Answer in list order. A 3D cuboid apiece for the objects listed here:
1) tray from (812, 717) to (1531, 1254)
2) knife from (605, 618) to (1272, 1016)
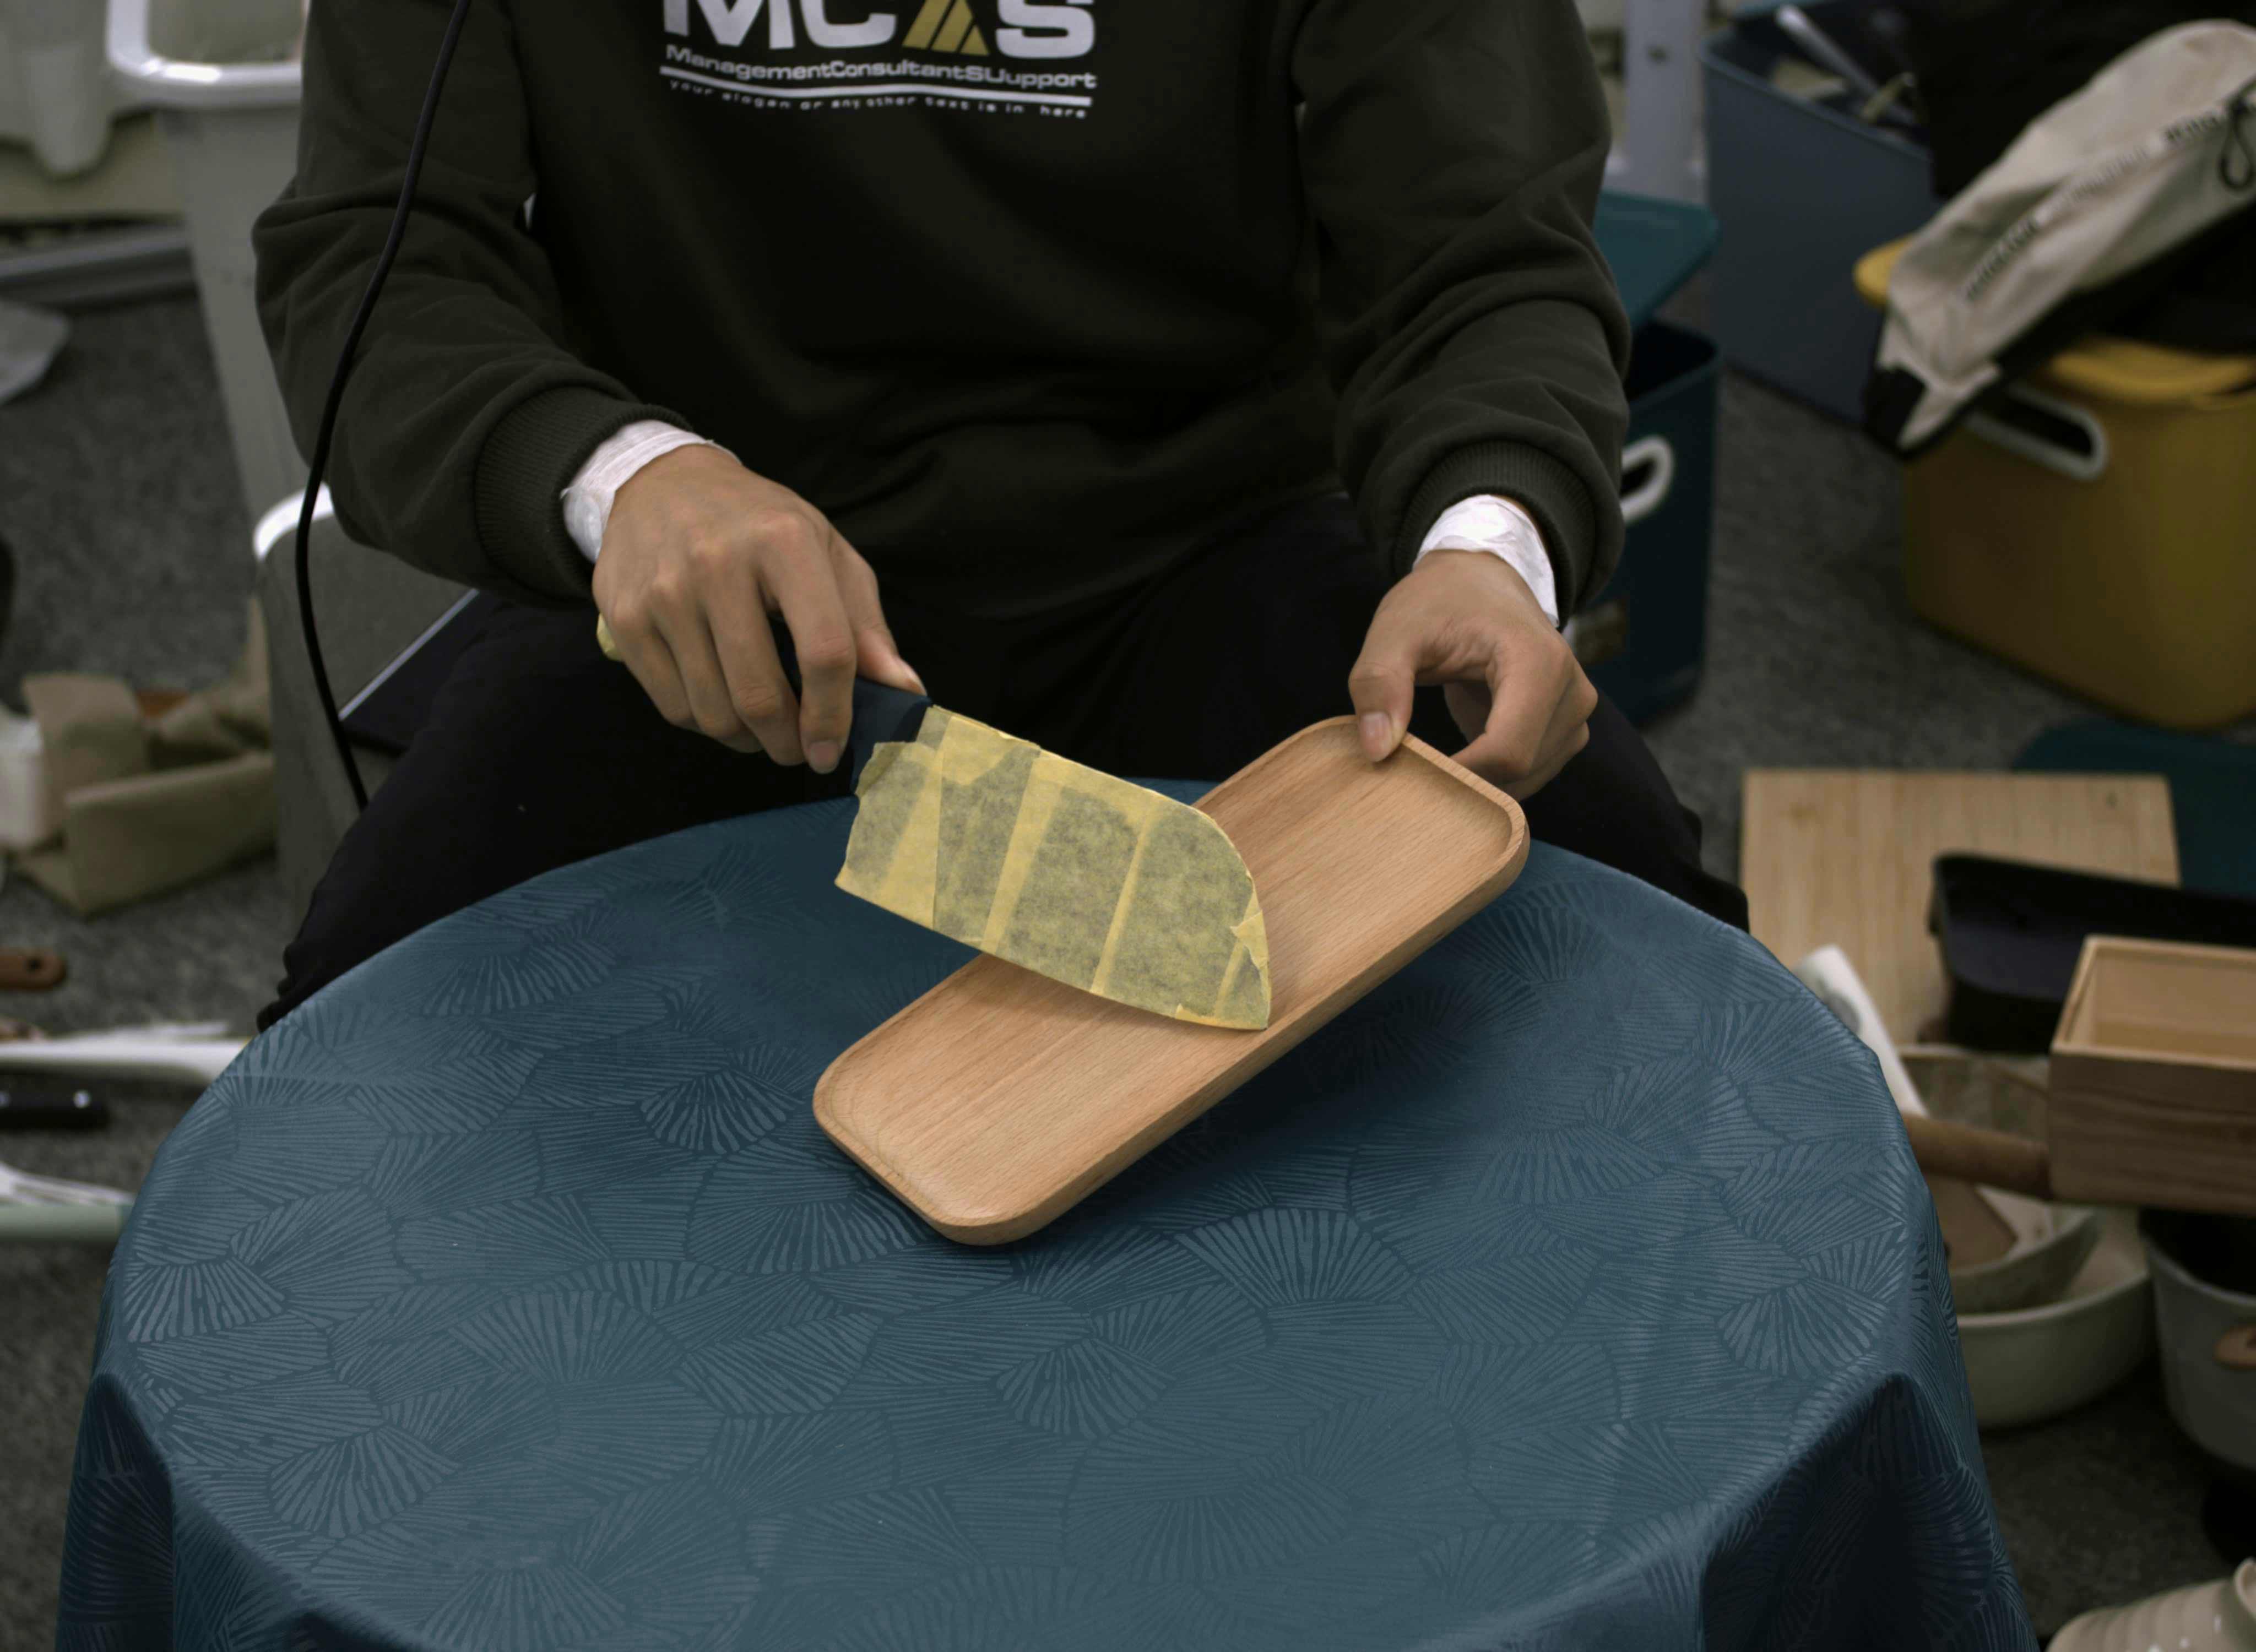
[{"bbox_3d":[0.016,0.052,1.899,0.253,0.022,0.131,-36,35,-18],"label":"tray"},{"bbox_3d":[-0.069,-0.006,1.925,0.289,0.081,0.027,25,6,28],"label":"knife"}]
